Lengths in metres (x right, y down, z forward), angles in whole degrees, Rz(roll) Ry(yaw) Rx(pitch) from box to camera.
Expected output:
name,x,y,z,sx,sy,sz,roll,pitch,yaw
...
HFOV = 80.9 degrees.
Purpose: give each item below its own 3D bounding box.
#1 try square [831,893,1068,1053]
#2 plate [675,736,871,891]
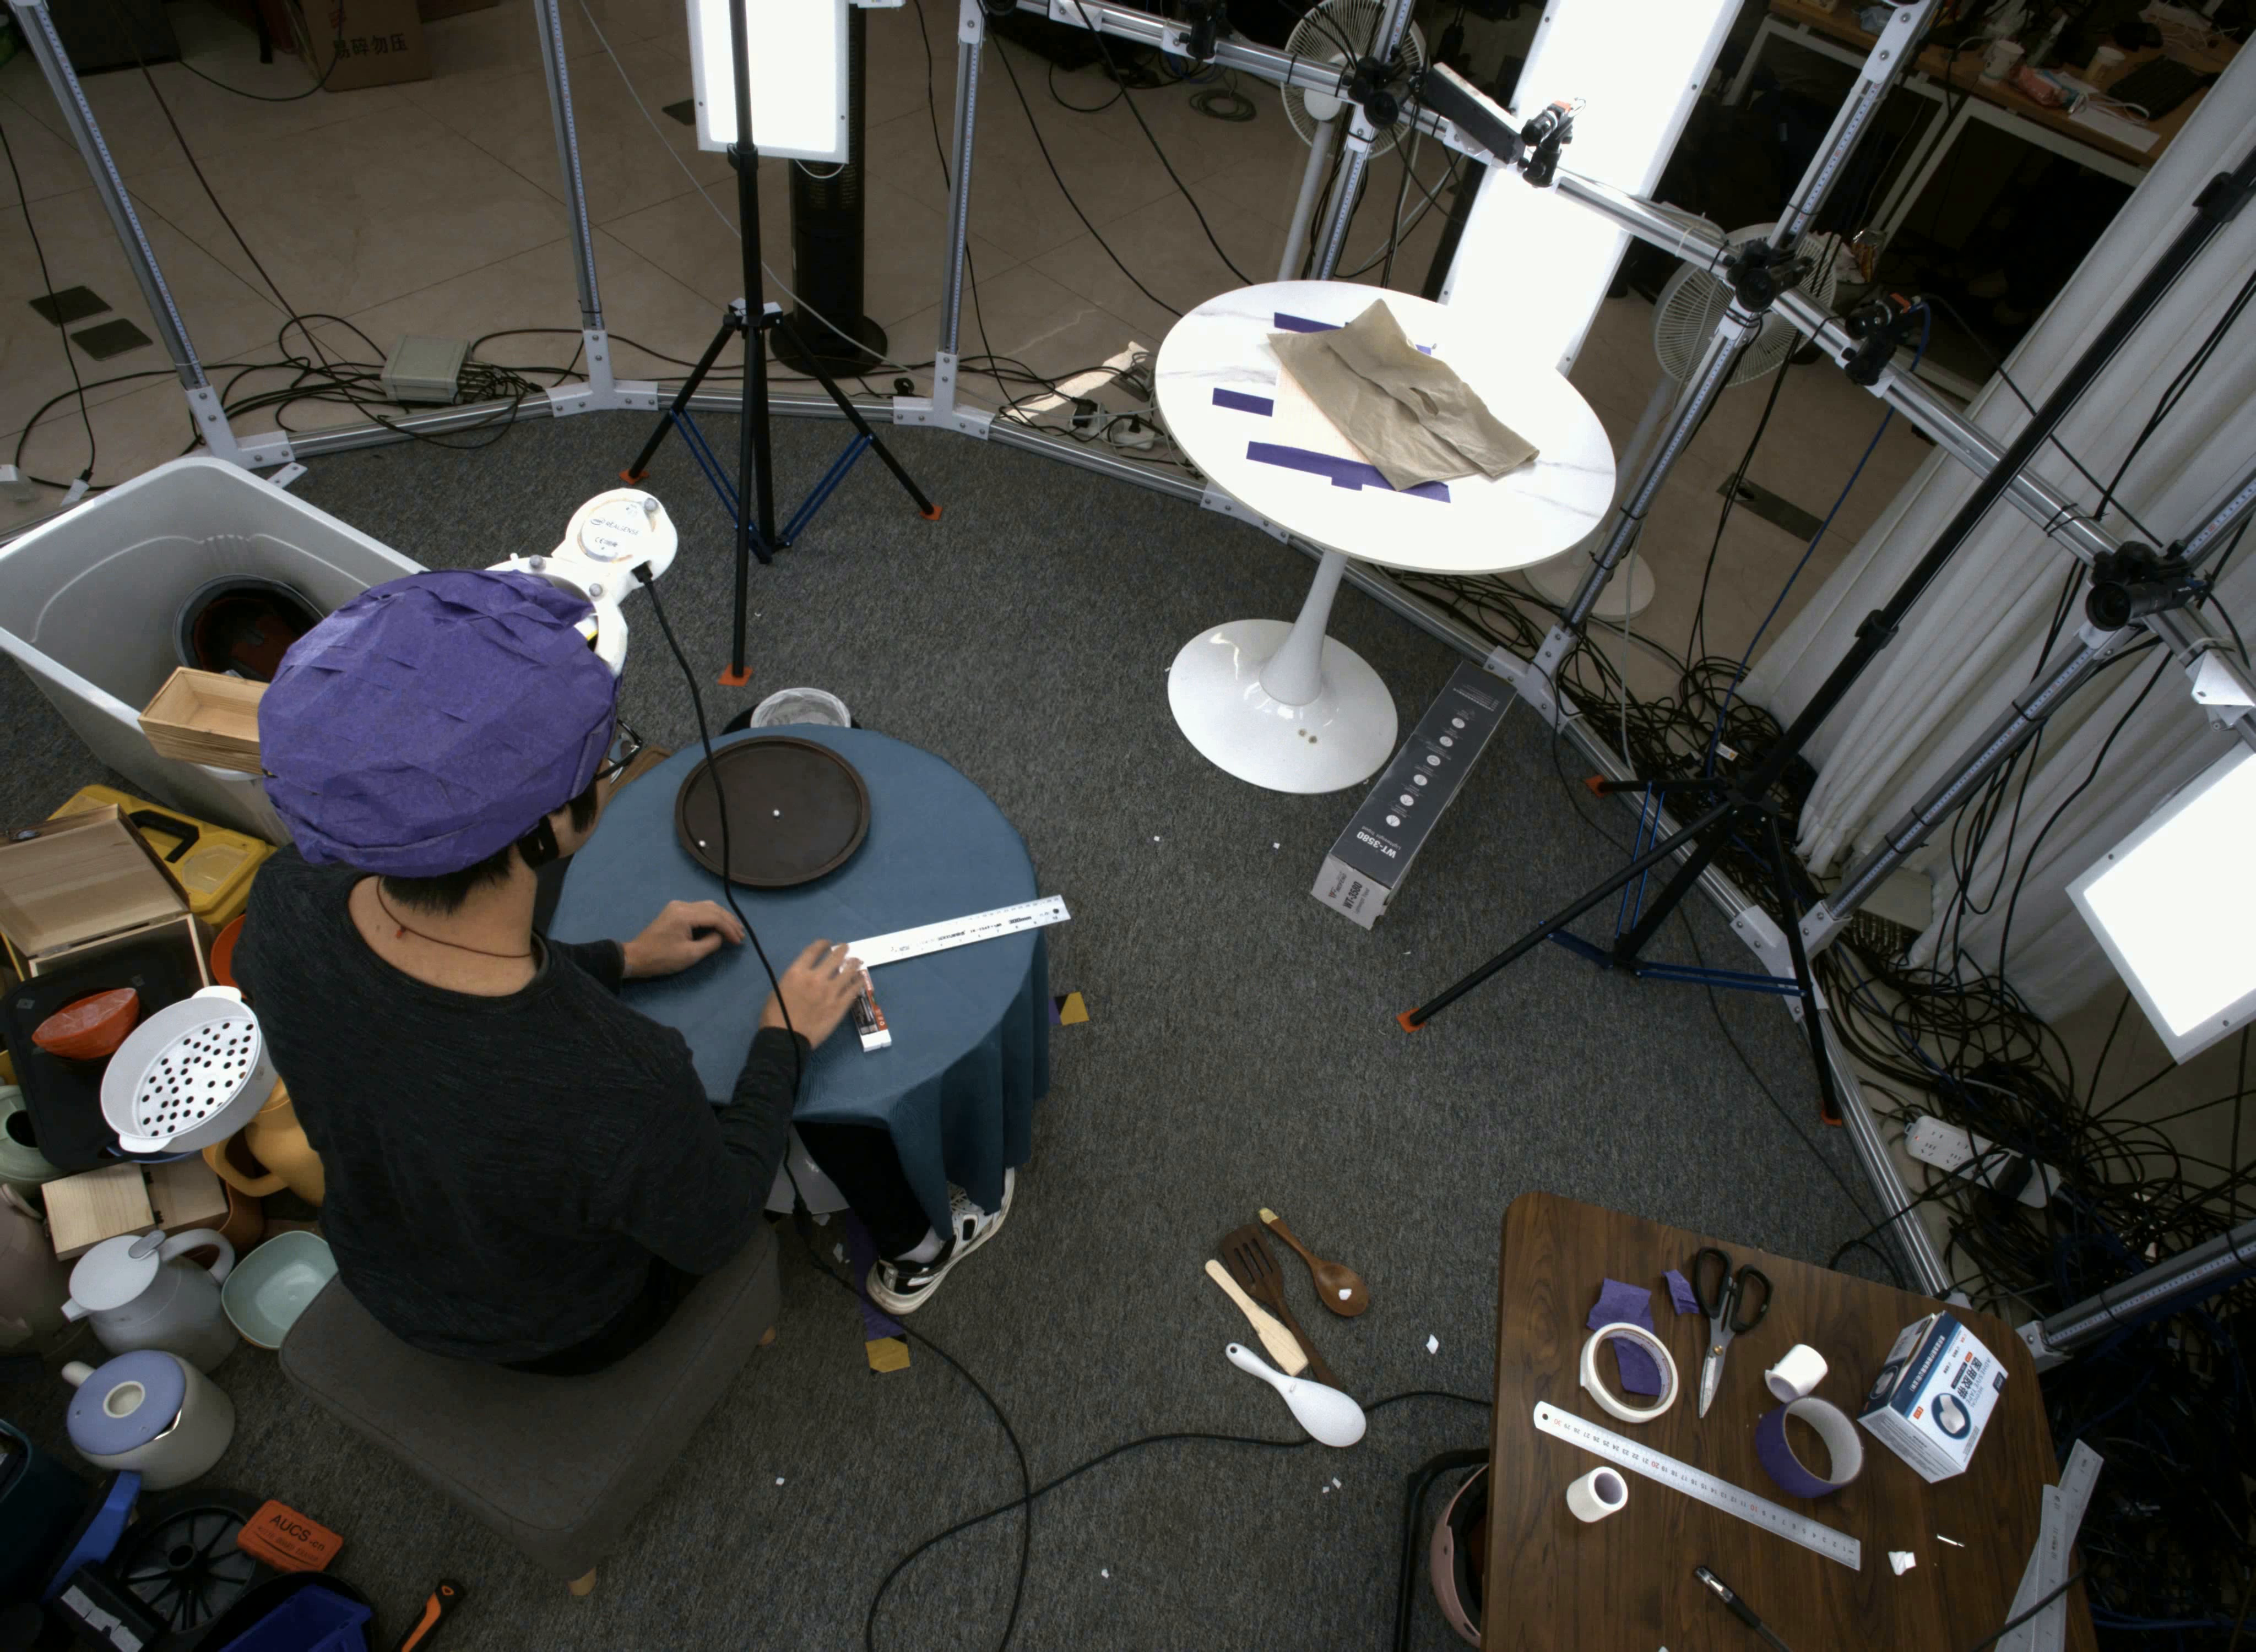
name,x,y,z,sx,sy,sz,roll,pitch,yaw
try square,-0.205,0.177,1.640,0.315,0.016,0.148,-12,58,-24
plate,-0.467,-0.019,1.707,0.254,0.029,0.250,9,52,-10
